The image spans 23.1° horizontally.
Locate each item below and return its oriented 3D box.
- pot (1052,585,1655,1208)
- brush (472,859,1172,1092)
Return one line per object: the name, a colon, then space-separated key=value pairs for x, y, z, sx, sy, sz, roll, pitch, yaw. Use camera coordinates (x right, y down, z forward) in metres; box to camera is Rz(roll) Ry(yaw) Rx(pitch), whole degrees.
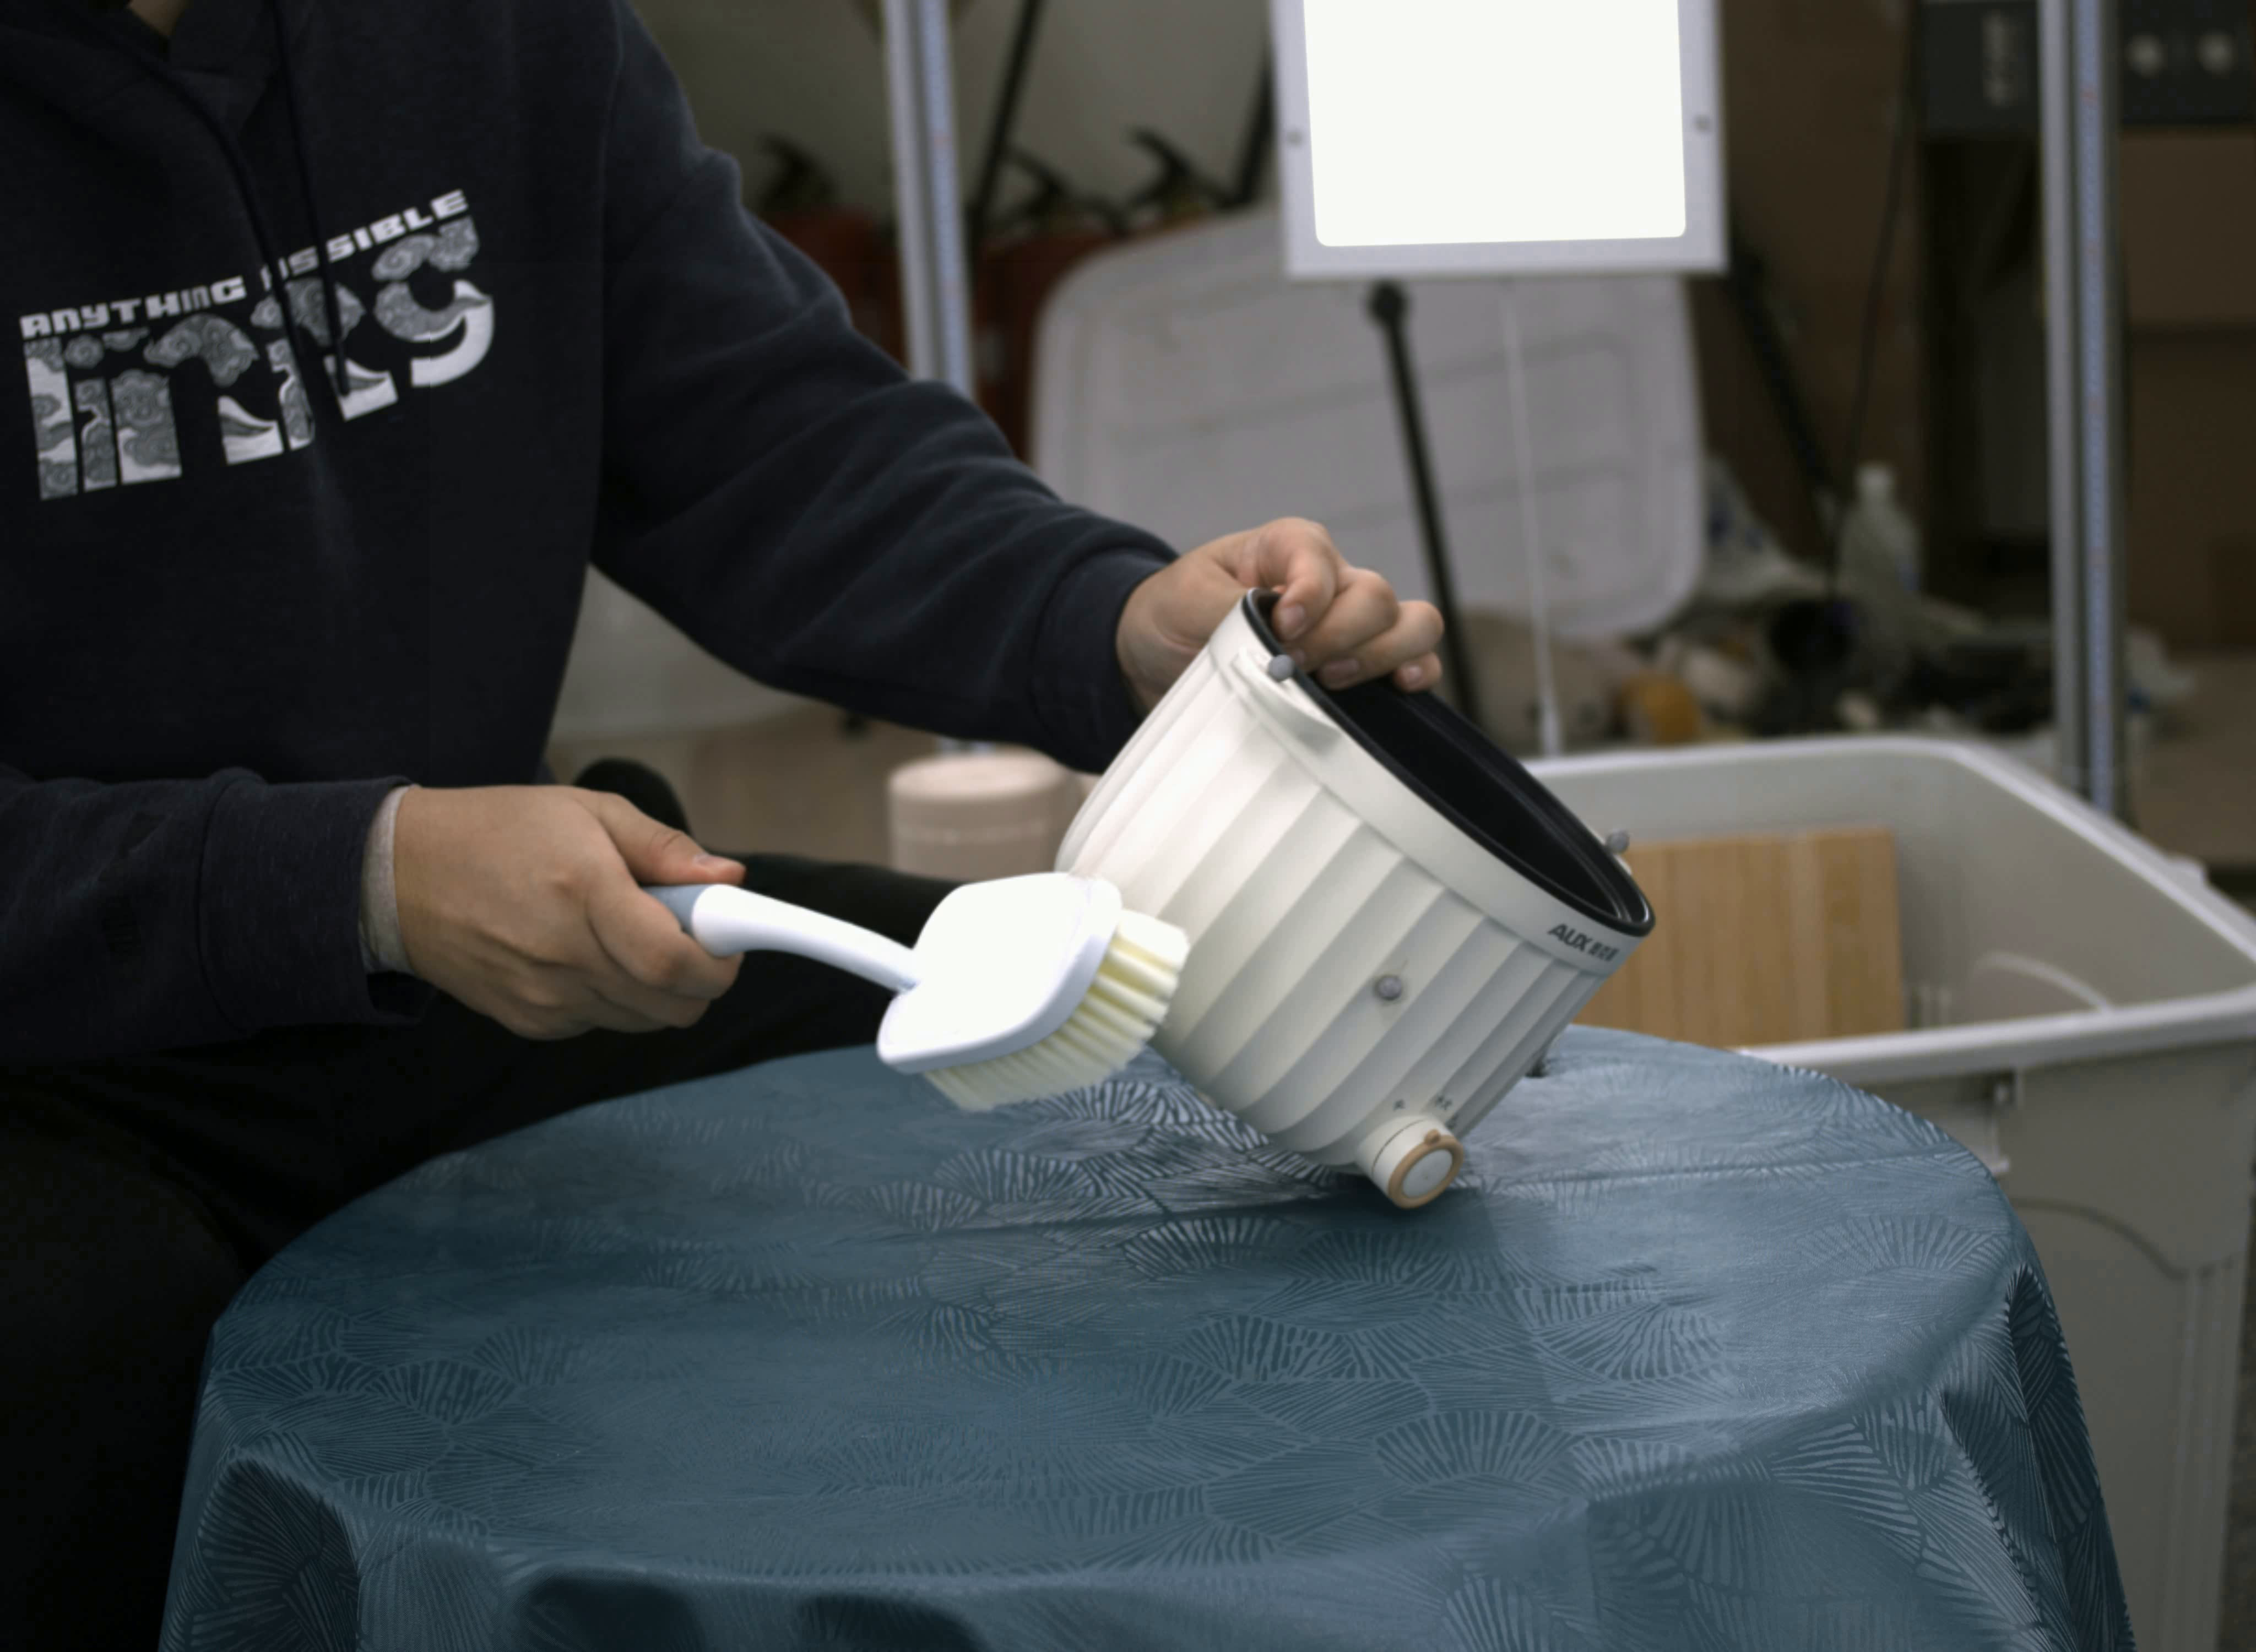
pot: x=0.073 y=0.029 z=1.885 sx=0.235 sy=0.144 sz=0.193 roll=21 pitch=18 yaw=-51
brush: x=-0.096 y=0.045 z=1.858 sx=0.081 sy=0.084 sz=0.333 roll=-31 pitch=20 yaw=-38
